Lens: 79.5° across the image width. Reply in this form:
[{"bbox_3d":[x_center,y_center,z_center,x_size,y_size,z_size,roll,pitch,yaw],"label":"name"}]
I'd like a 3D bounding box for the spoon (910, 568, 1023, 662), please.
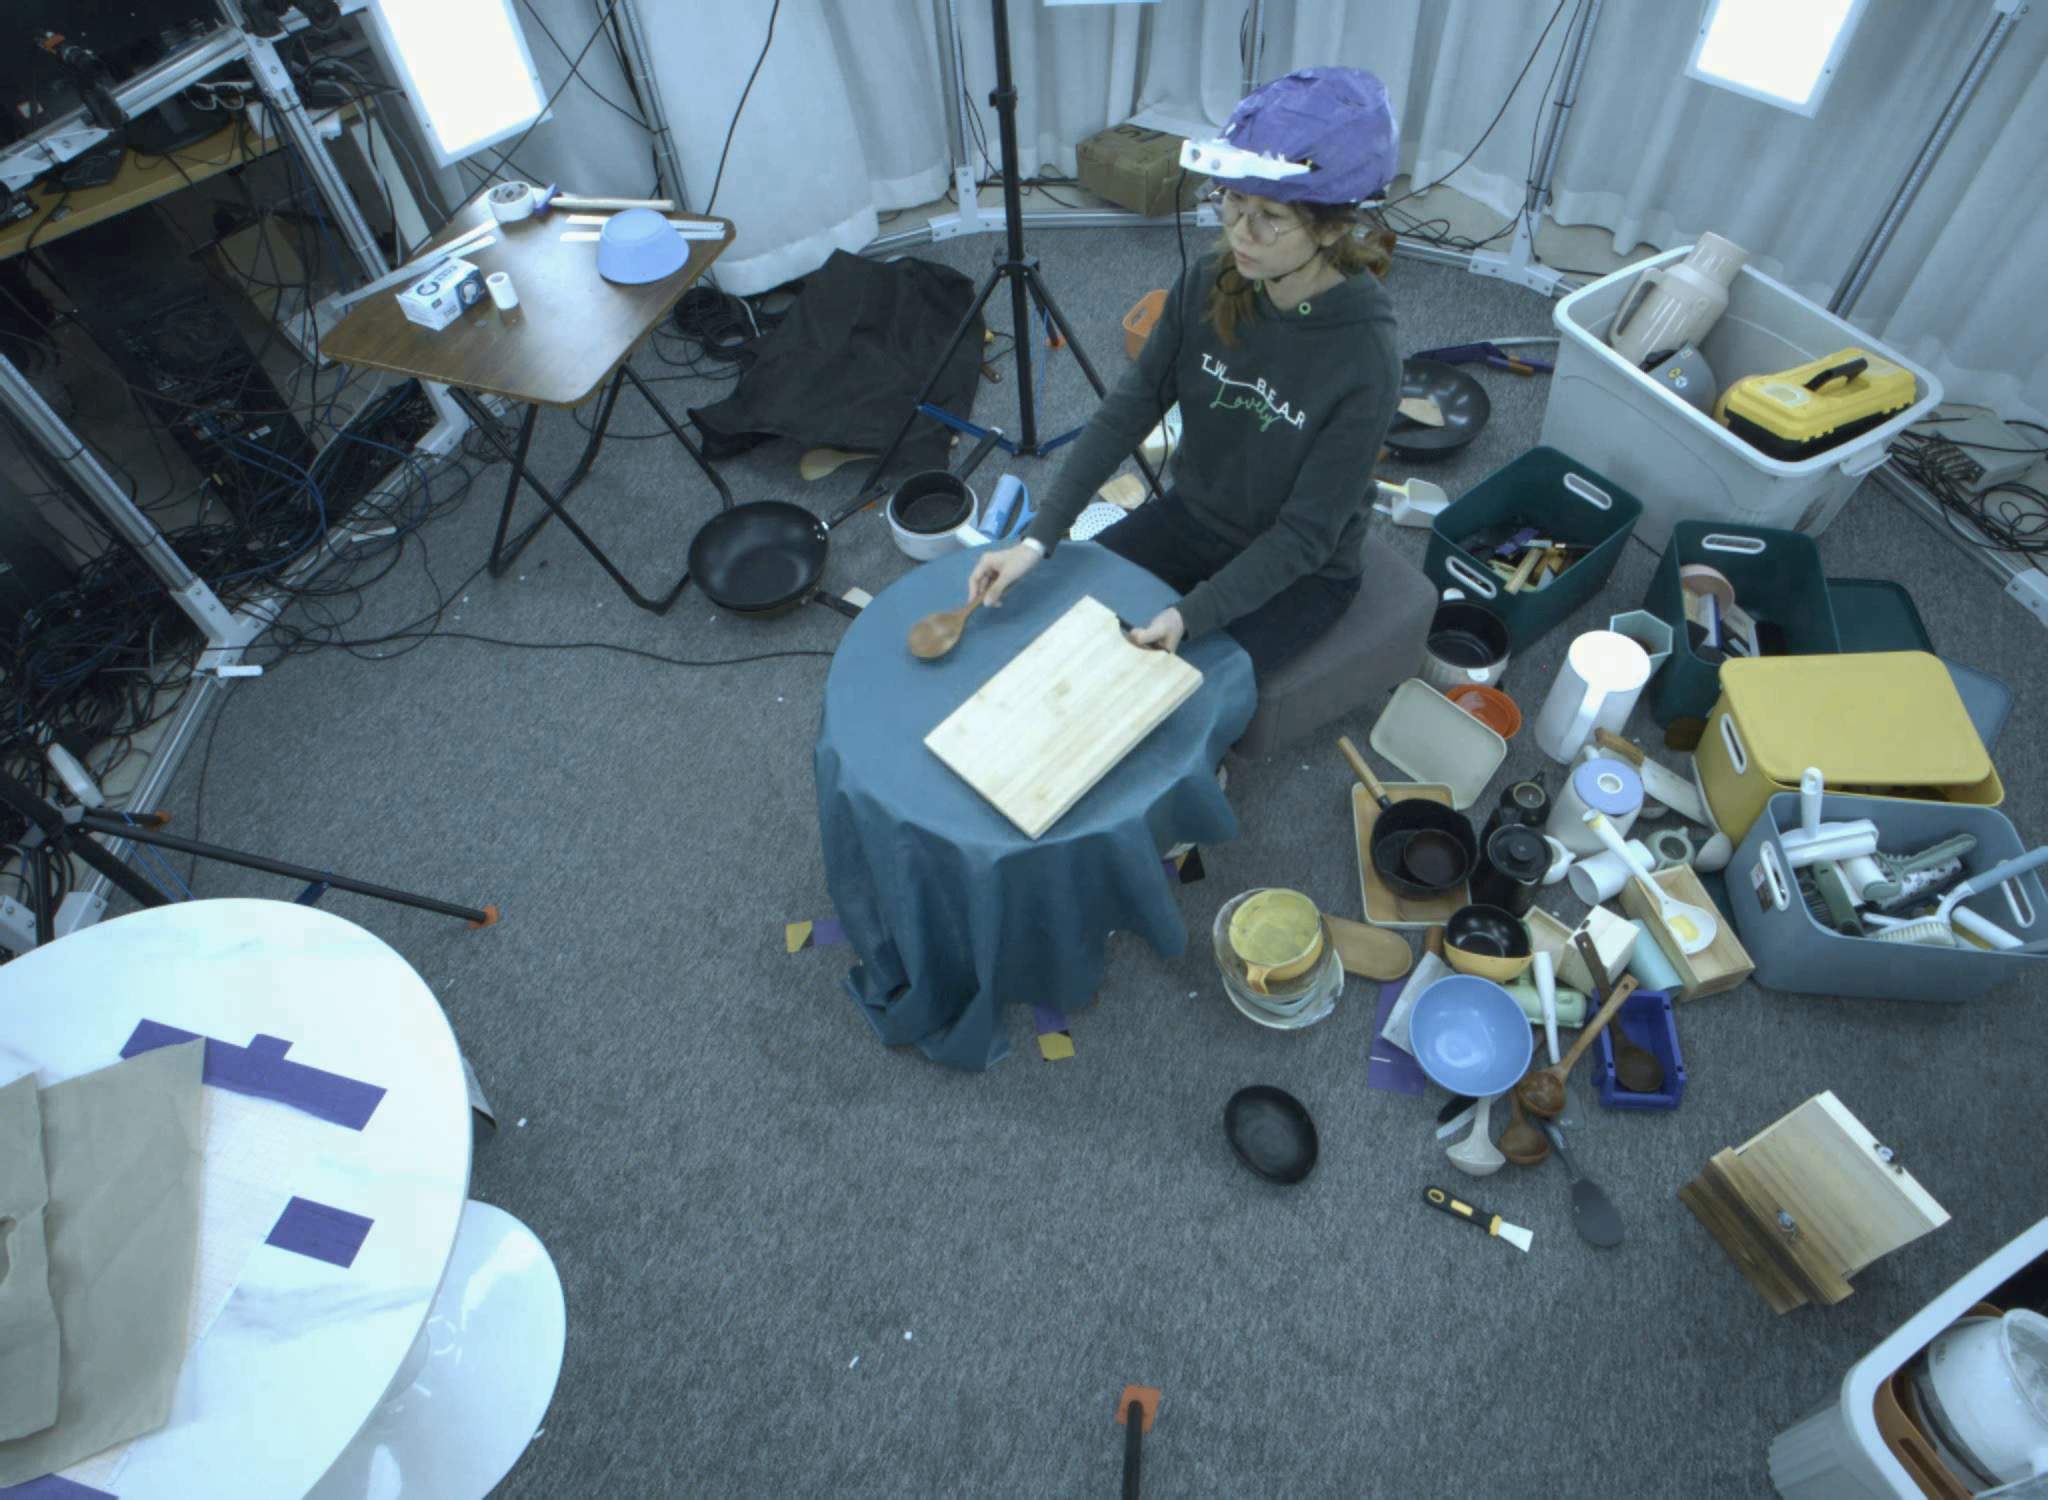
[{"bbox_3d":[-0.087,-0.211,1.907,0.216,0.017,0.074,-41,66,-12],"label":"spoon"}]

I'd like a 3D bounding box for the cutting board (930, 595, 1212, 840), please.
[{"bbox_3d":[0.064,-0.056,1.781,0.350,0.024,0.246,-43,60,-15],"label":"cutting board"}]
